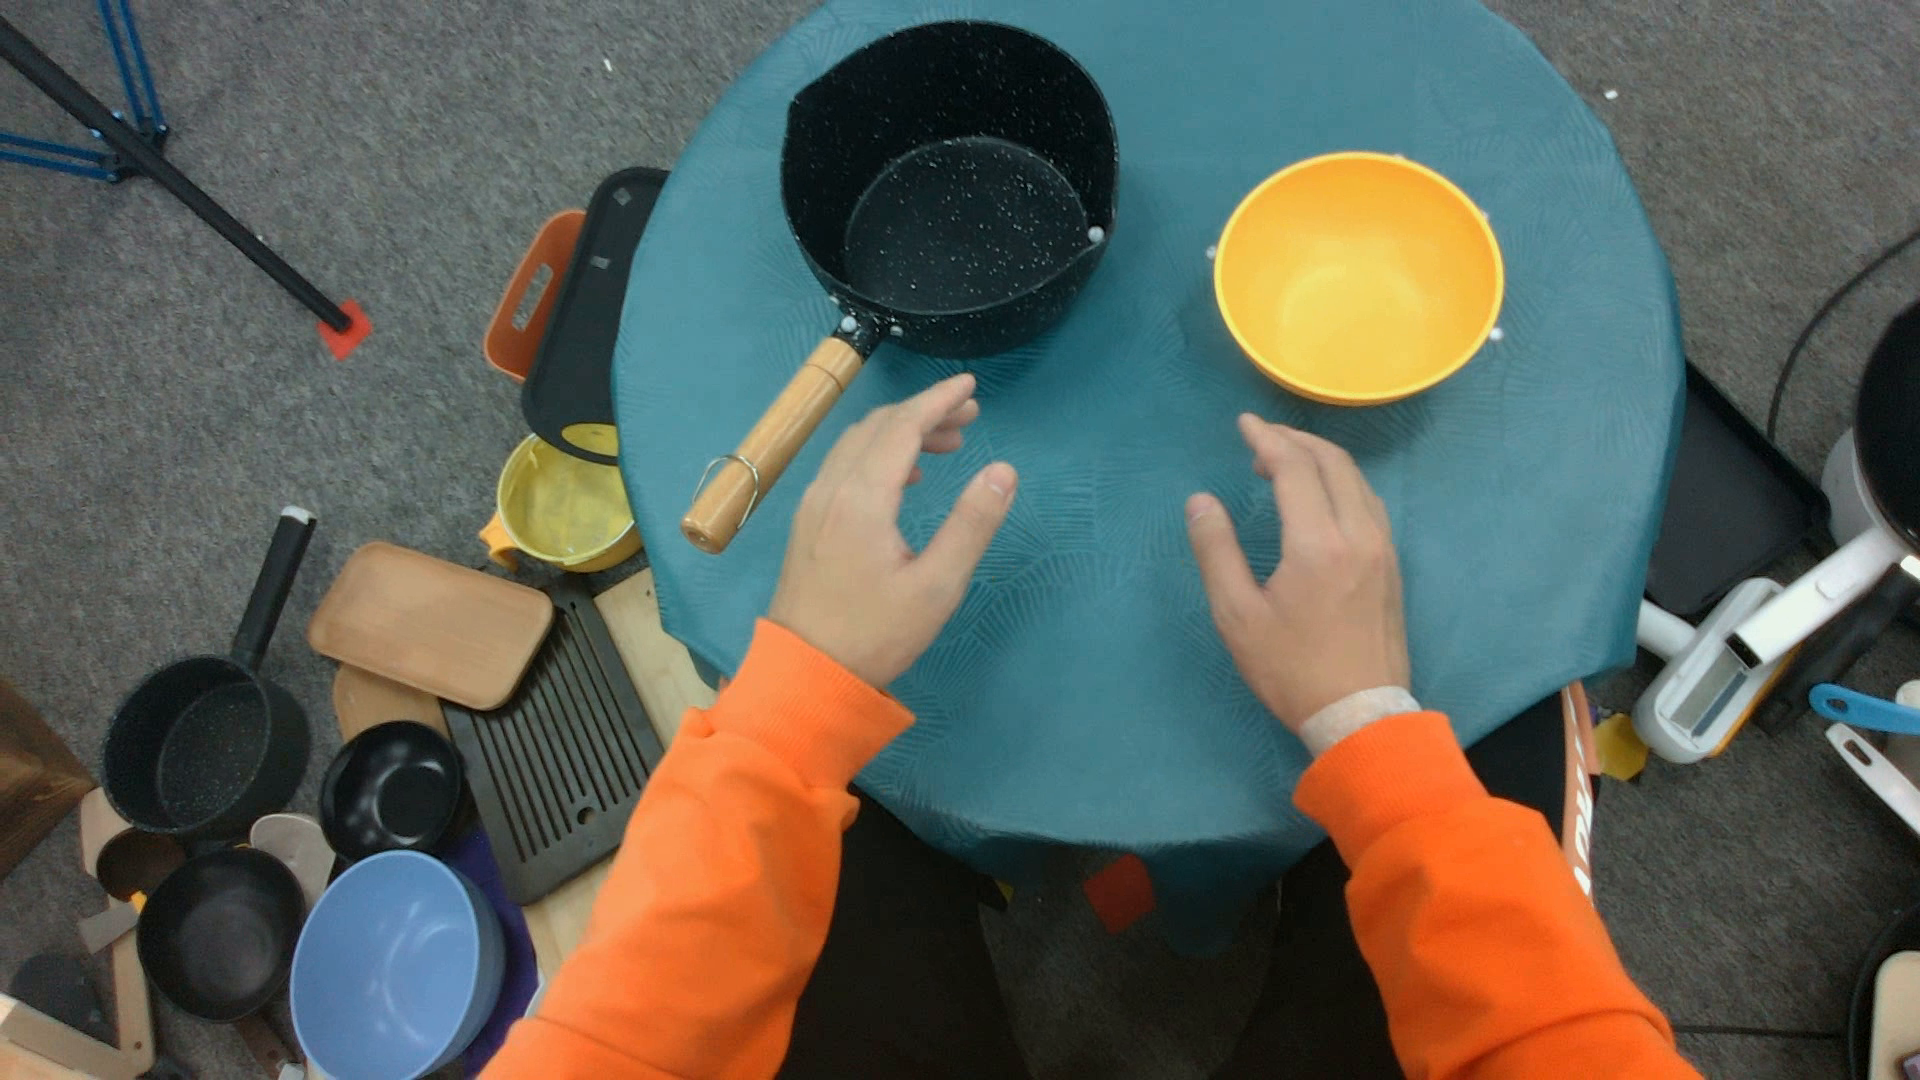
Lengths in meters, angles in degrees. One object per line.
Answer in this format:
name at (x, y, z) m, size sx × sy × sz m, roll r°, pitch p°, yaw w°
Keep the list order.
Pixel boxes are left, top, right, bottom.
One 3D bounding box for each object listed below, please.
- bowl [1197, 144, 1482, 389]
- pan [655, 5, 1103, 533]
bowl at (0.201, -0.138, 0.745) m, size 0.145 × 0.060 × 0.146 m, roll -3°, pitch 69°, yaw 7°
pan at (-0.050, -0.134, 0.747) m, size 0.207 × 0.108 × 0.344 m, roll 25°, pitch 74°, yaw 13°
